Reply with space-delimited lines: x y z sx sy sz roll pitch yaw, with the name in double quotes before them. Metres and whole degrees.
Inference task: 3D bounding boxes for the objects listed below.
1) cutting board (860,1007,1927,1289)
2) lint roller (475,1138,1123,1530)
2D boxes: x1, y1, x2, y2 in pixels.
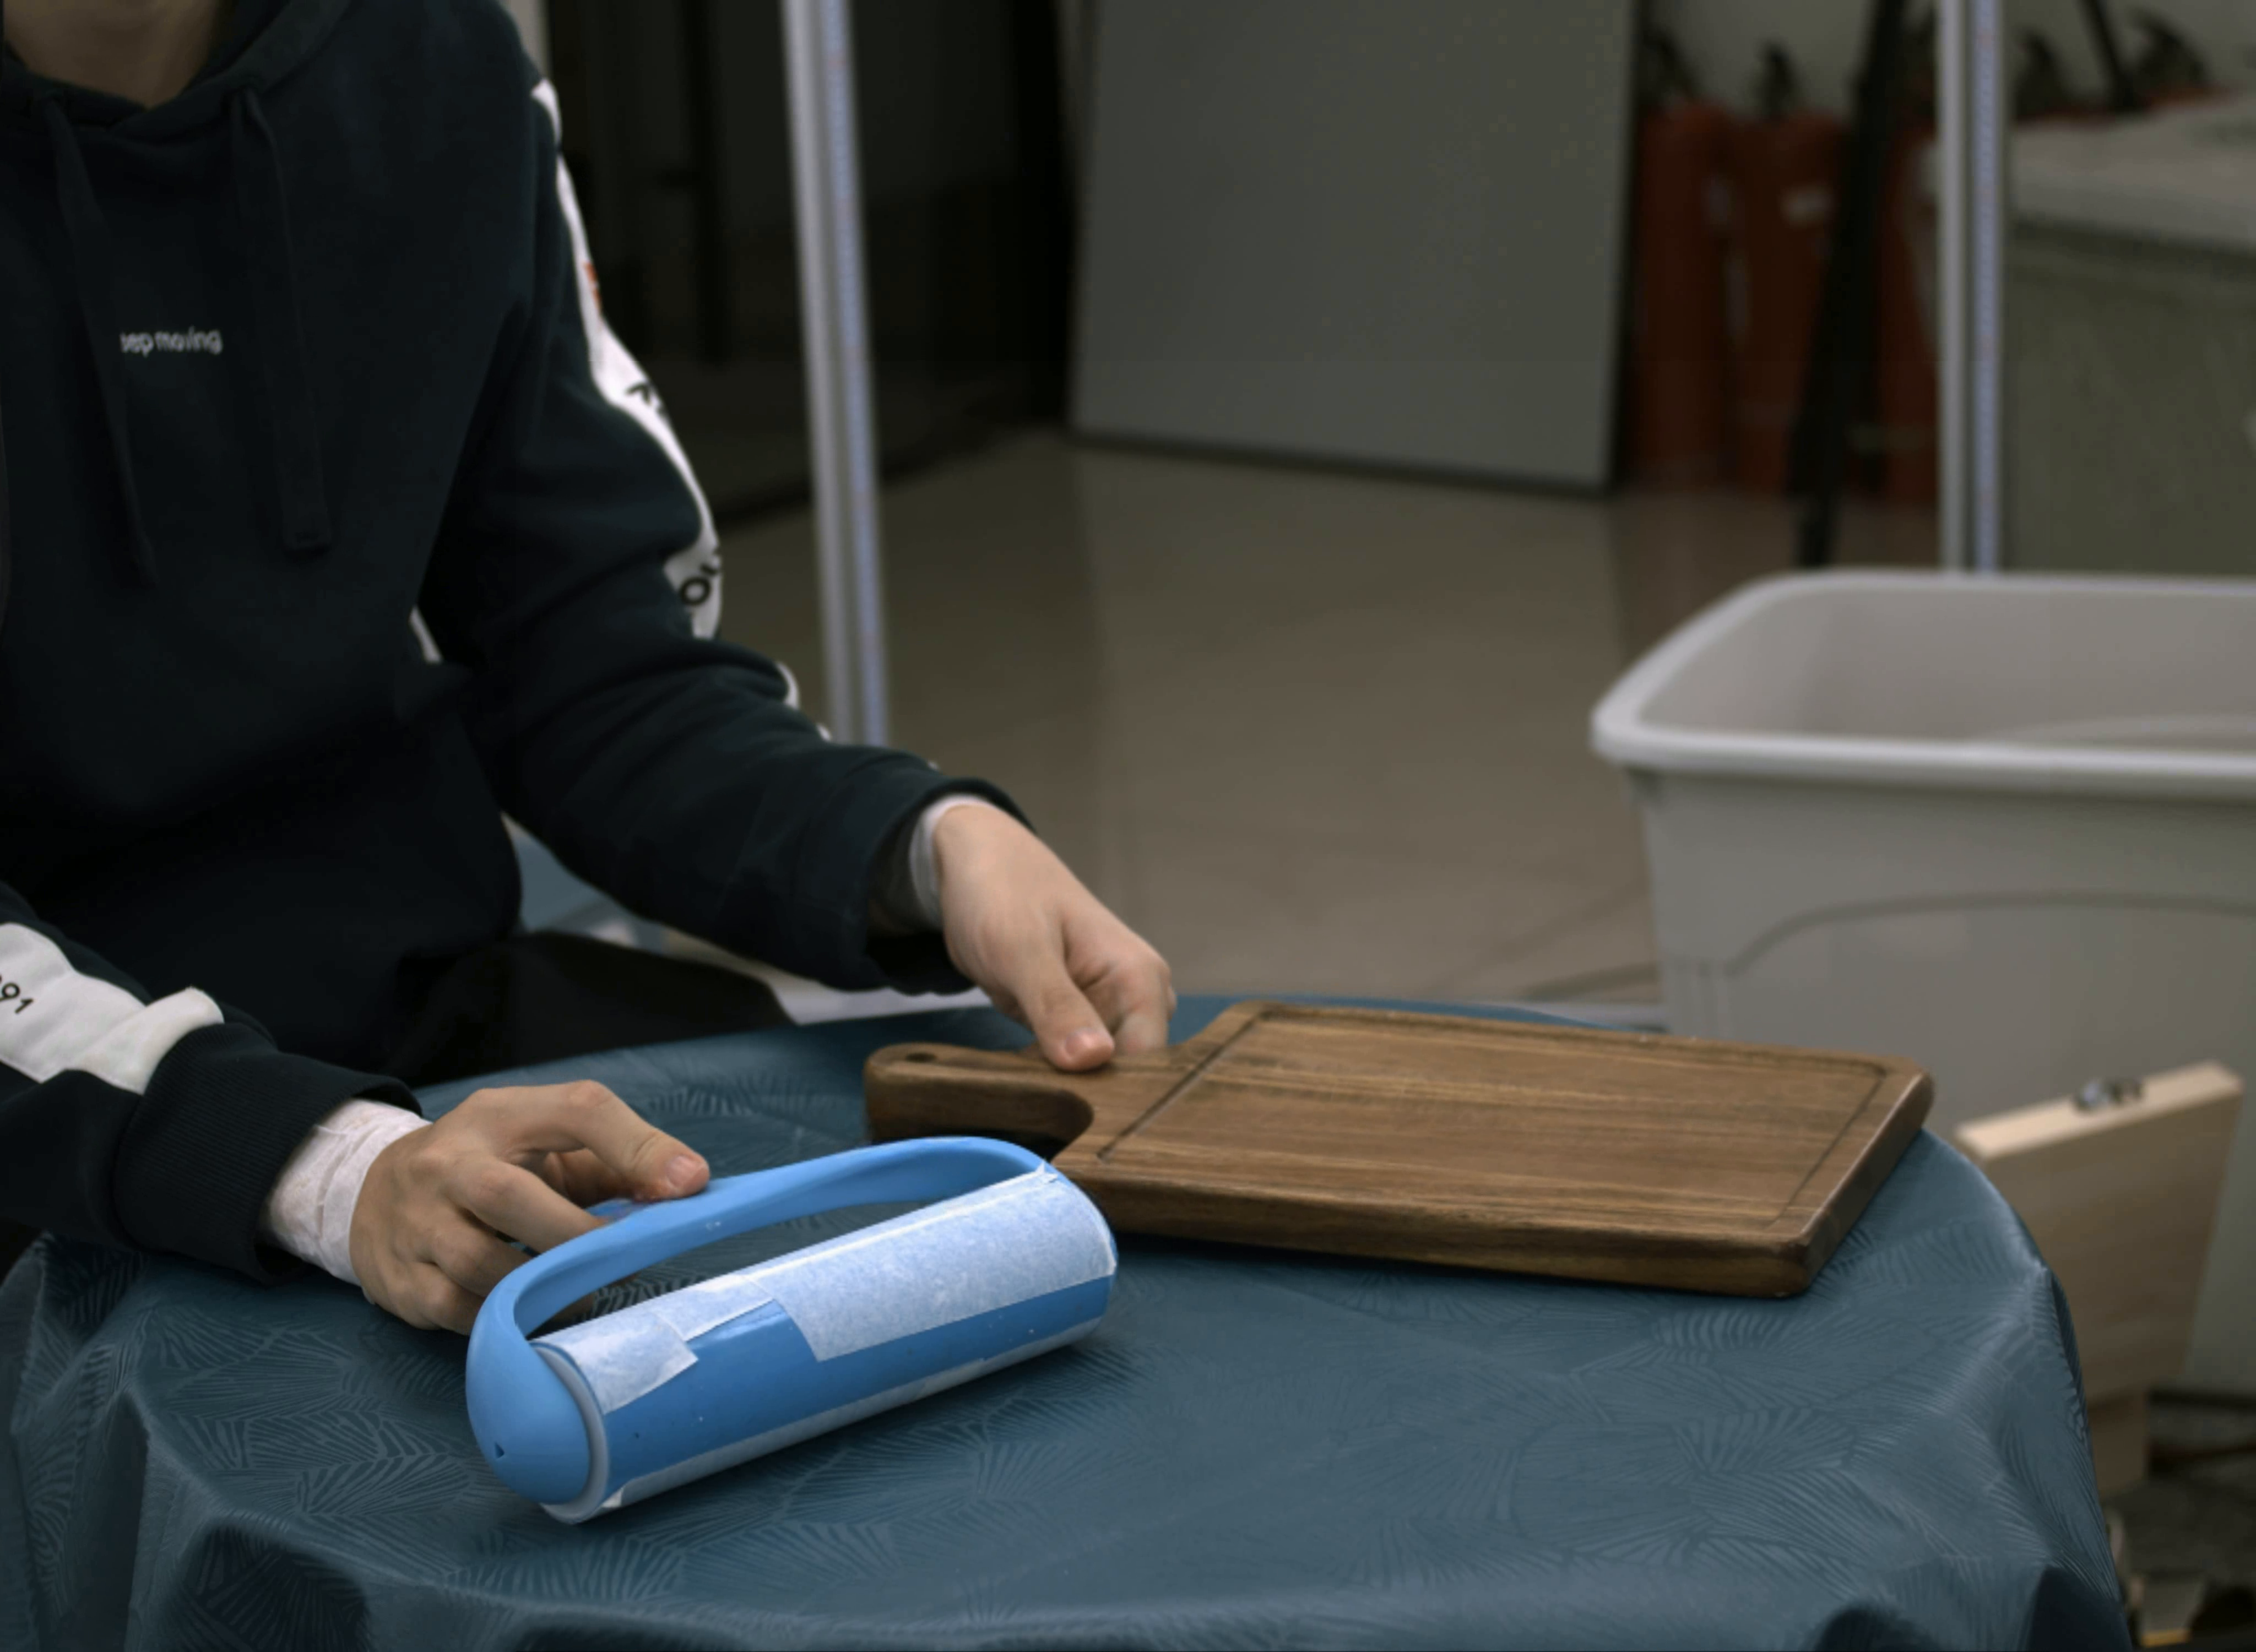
"cutting board" 0.075 0.098 1.769 0.352 0.023 0.199 4 15 21
"lint roller" -0.131 0.141 1.611 0.224 0.068 0.182 -19 21 -41
